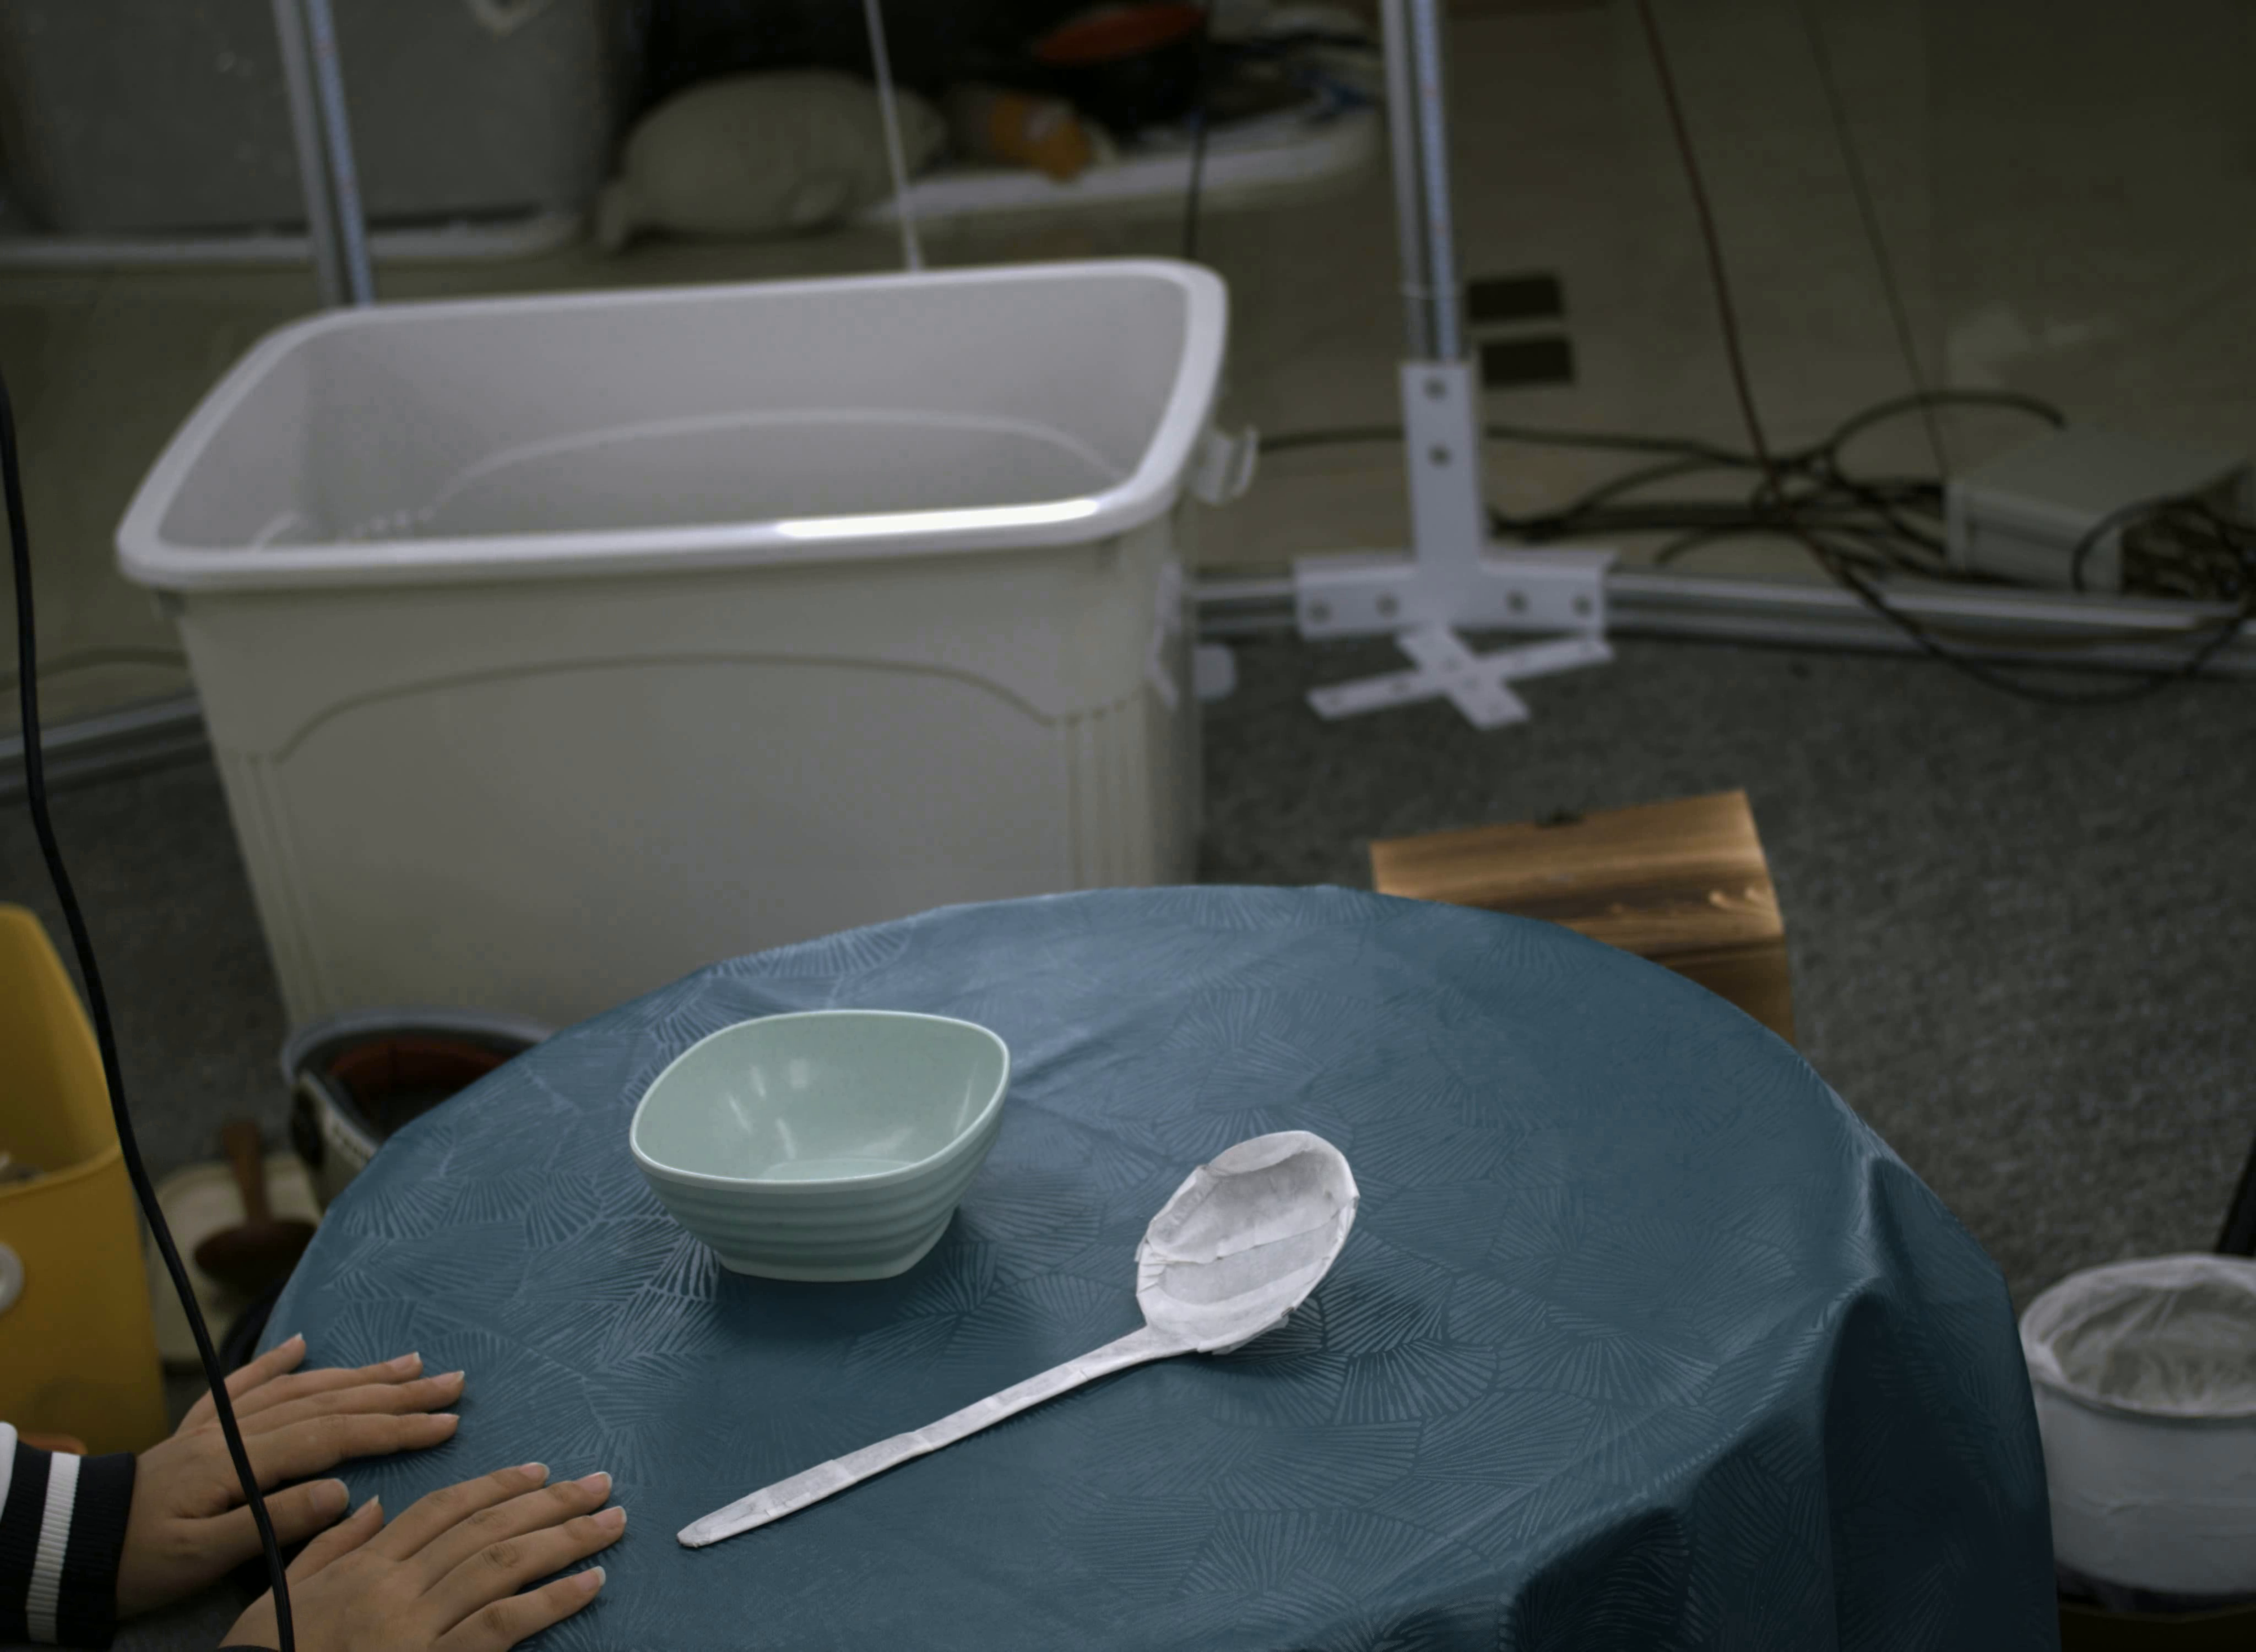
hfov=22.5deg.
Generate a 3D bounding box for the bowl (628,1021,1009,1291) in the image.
[{"bbox_3d":[-0.113,0.129,2.135,0.151,0.059,0.149,-6,25,3],"label":"bowl"}]

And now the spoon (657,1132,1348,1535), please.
[{"bbox_3d":[-0.047,0.177,2.009,0.276,0.060,0.100,-18,23,-23],"label":"spoon"}]
